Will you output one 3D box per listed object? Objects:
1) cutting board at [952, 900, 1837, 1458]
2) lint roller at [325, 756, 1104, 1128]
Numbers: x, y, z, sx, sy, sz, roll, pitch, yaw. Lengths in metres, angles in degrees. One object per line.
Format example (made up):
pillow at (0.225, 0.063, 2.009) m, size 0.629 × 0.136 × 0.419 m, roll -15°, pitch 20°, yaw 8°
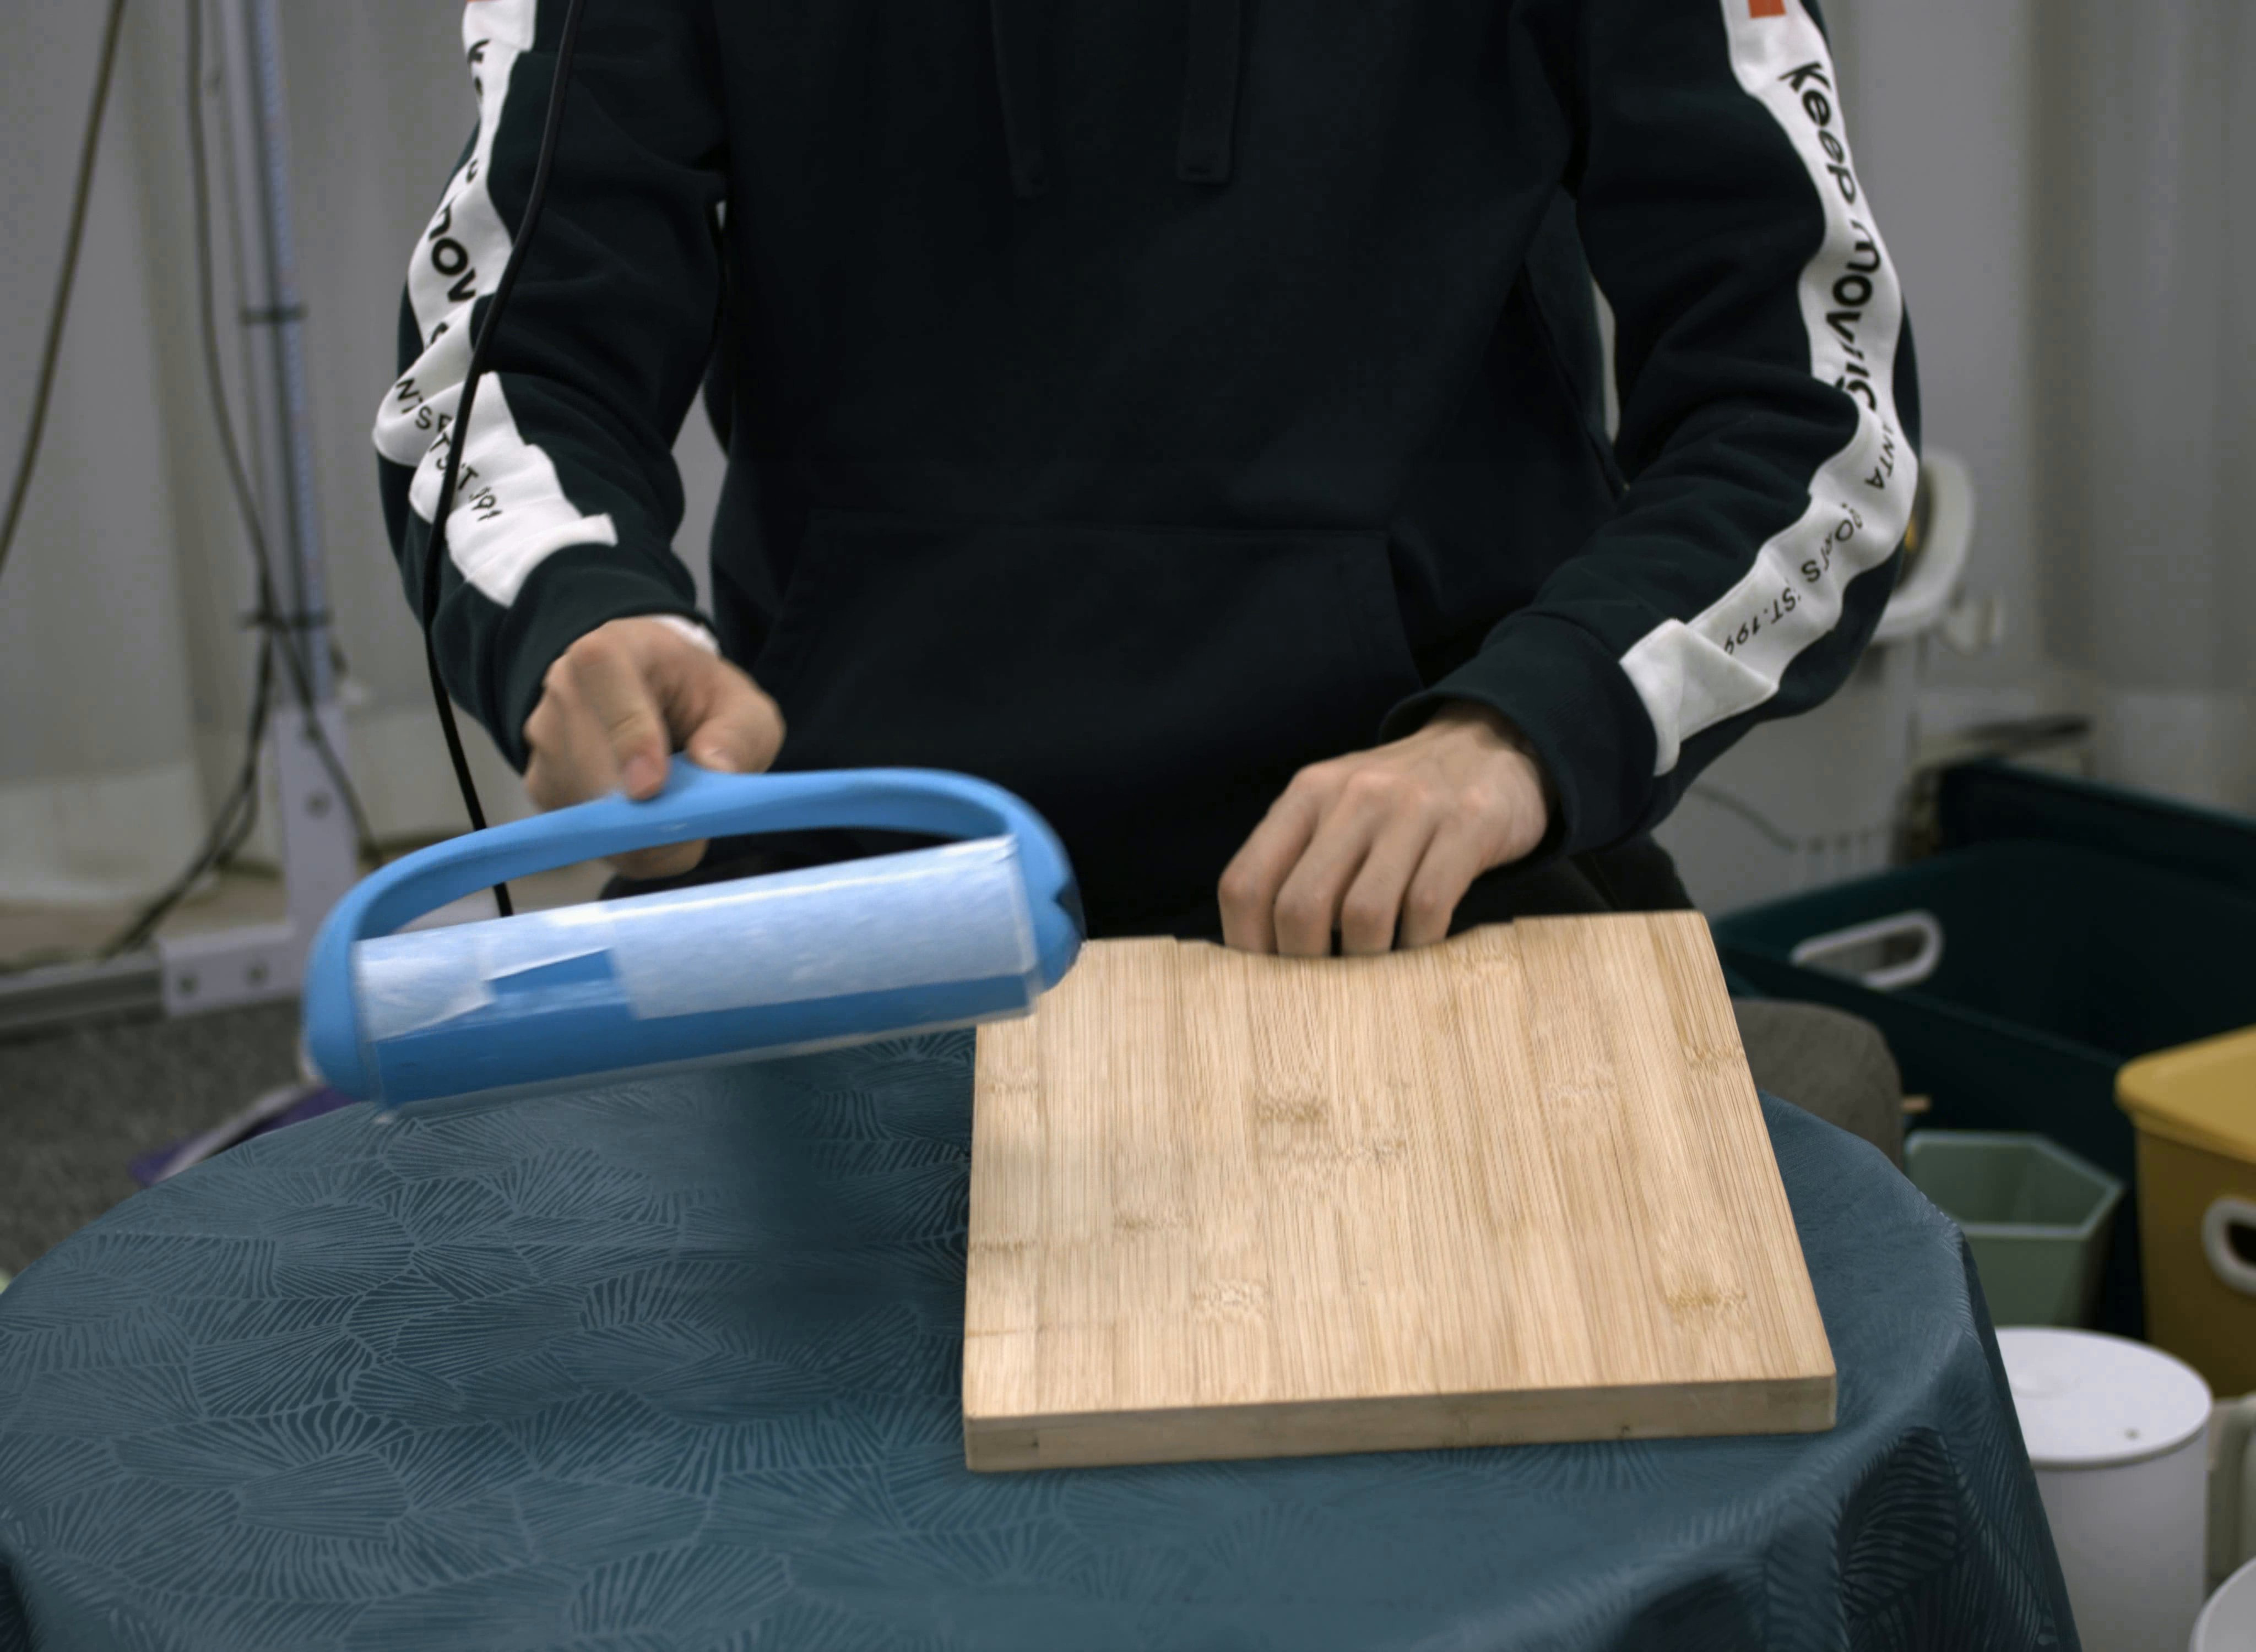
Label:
cutting board at (0.072, 0.101, 1.652) m, size 0.250 × 0.023 × 0.352 m, roll -3°, pitch 21°, yaw 0°
lint roller at (-0.132, 0.014, 1.641) m, size 0.228 × 0.067 × 0.182 m, roll -13°, pitch 31°, yaw -6°
